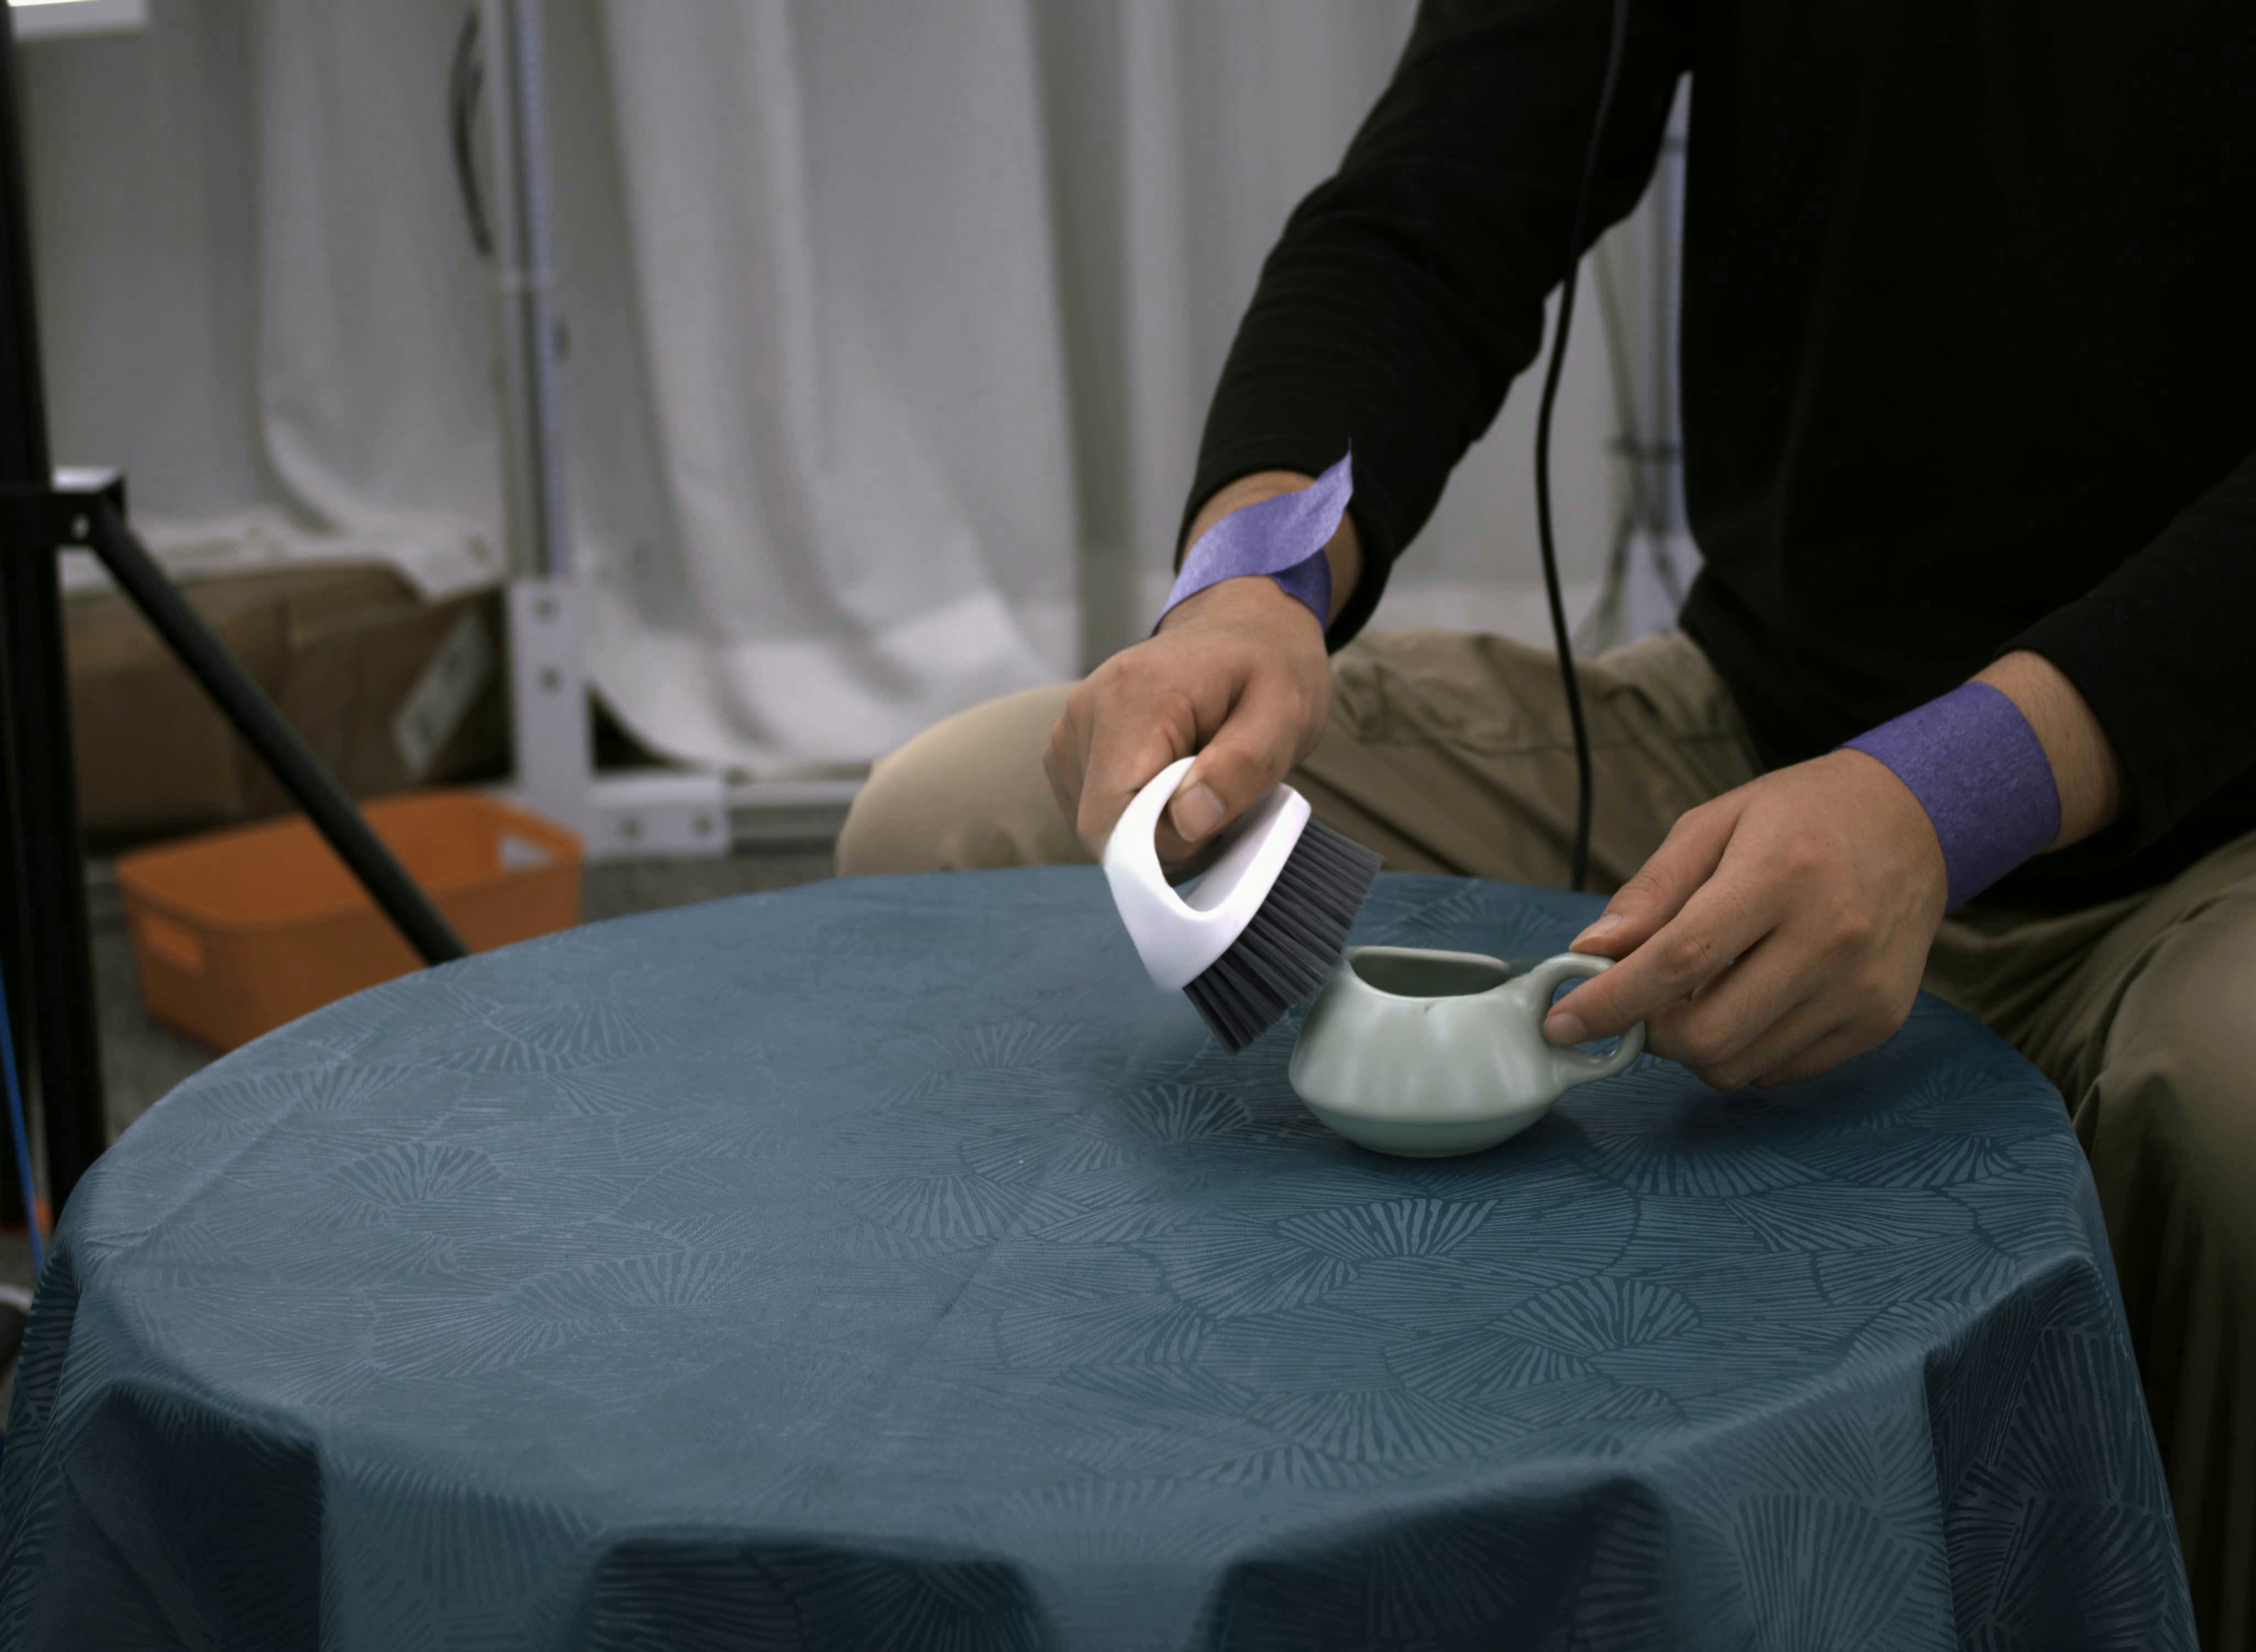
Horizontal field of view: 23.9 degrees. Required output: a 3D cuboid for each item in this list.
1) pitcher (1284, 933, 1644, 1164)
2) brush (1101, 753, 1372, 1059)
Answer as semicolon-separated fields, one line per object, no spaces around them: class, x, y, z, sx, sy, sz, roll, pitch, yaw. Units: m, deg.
pitcher;0.101;0.067;1.588;0.109;0.060;0.085;7;19;16
brush;0.027;0.016;1.615;0.051;0.072;0.098;-43;8;34
